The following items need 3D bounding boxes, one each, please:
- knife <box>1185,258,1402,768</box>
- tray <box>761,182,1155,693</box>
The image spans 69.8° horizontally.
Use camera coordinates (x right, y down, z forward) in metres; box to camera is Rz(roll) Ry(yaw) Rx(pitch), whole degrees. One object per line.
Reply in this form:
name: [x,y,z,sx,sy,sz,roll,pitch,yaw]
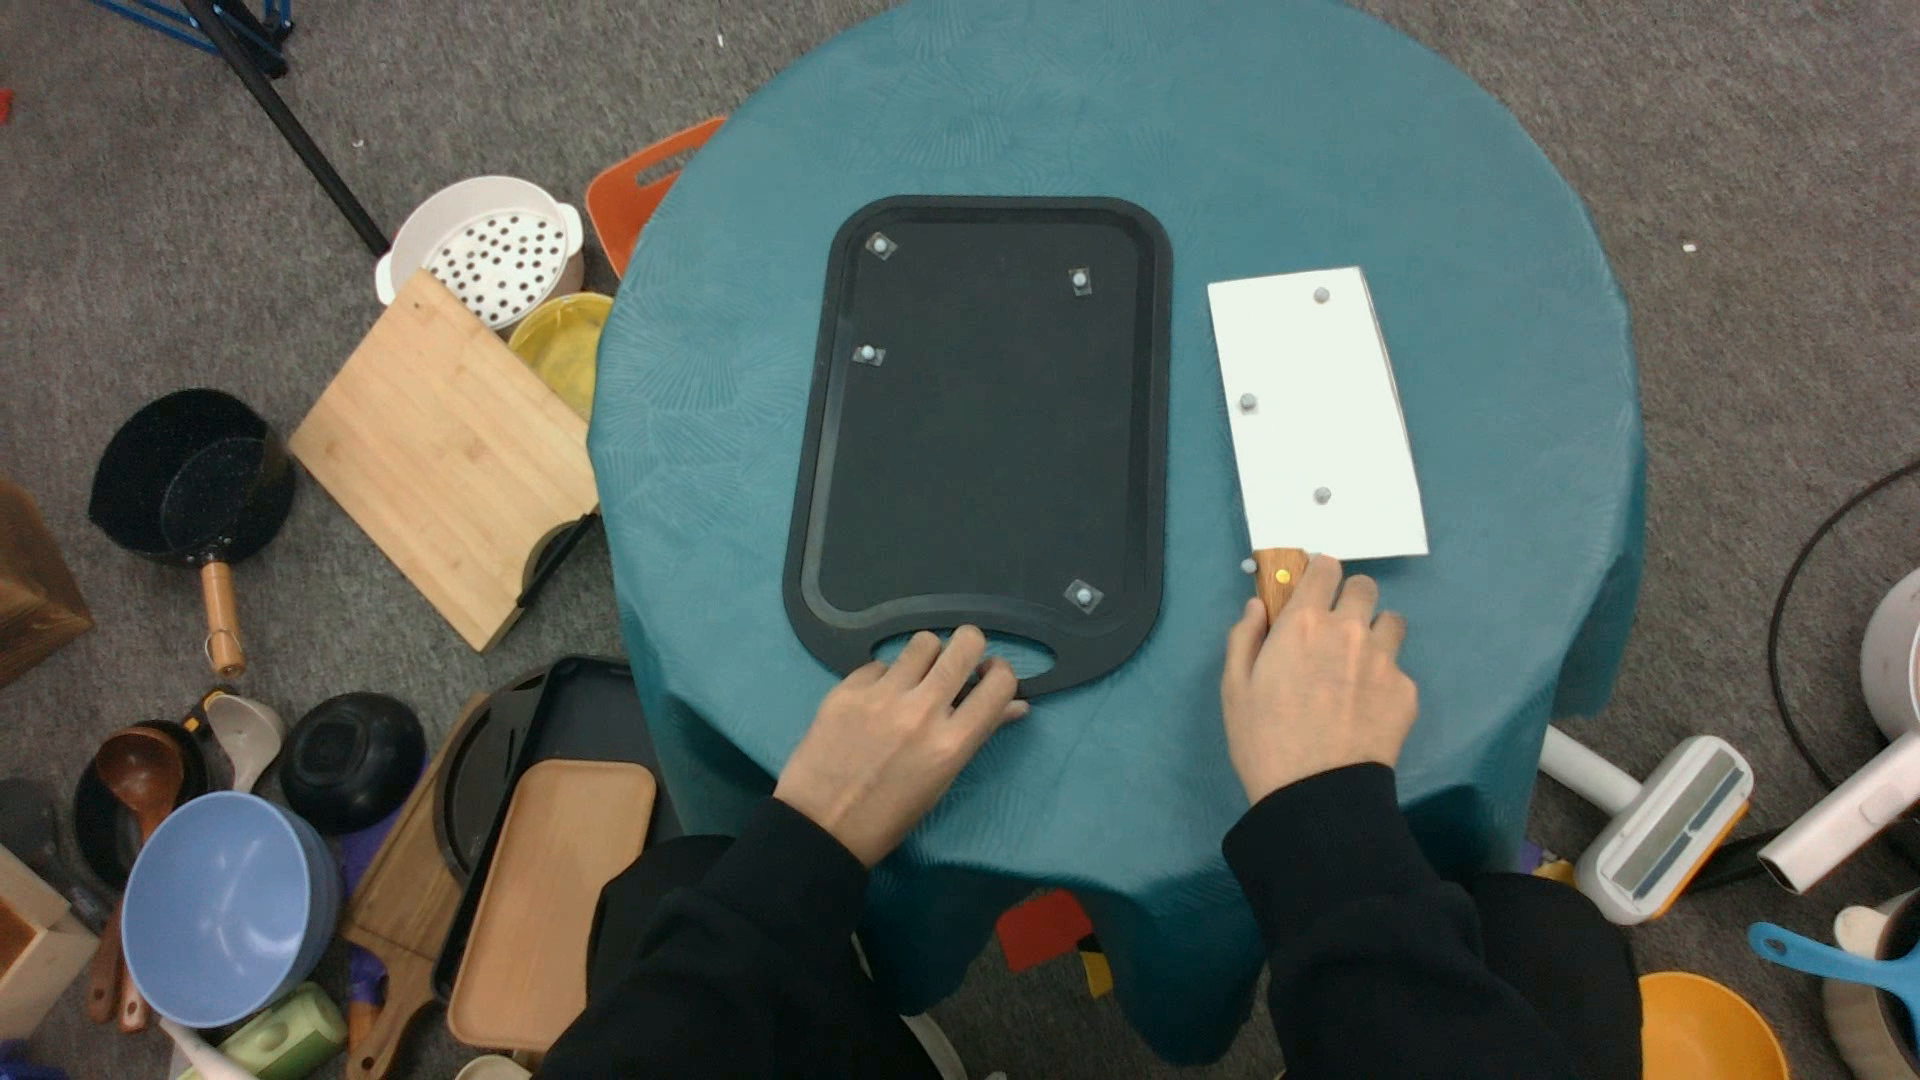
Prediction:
knife: [0.185,-0.028,0.742,0.093,0.021,0.307,-5,63,3]
tray: [0.003,-0.071,0.784,0.211,0.010,0.326,2,67,7]
